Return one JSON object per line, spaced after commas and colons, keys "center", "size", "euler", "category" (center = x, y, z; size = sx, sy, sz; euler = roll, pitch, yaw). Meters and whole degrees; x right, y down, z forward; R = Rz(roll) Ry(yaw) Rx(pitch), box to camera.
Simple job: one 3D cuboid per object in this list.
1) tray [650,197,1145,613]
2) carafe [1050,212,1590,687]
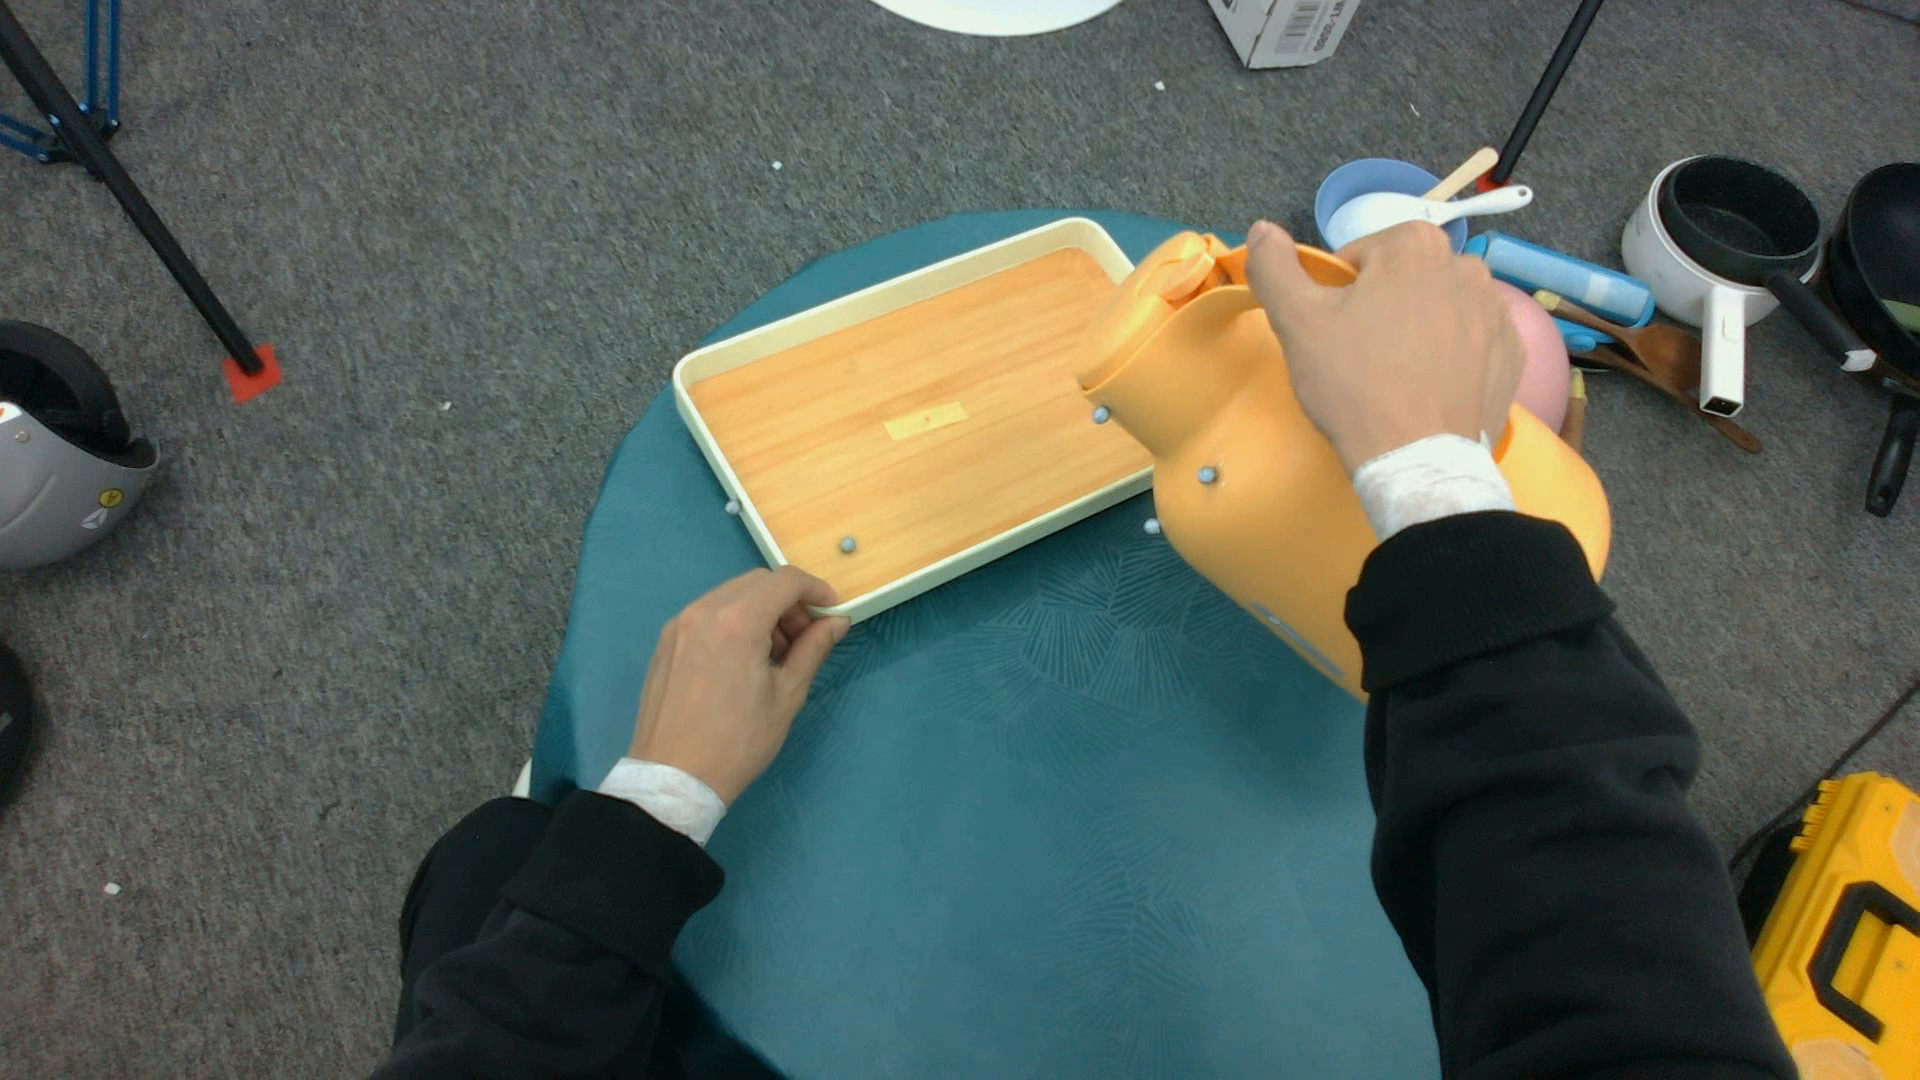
{"center": [-0.009, -0.091, 0.813], "size": [0.301, 0.027, 0.192], "euler": [-25, 65, -22], "category": "tray"}
{"center": [0.174, -0.053, 0.665], "size": [0.260, 0.202, 0.164], "euler": [34, 76, -10], "category": "carafe"}
